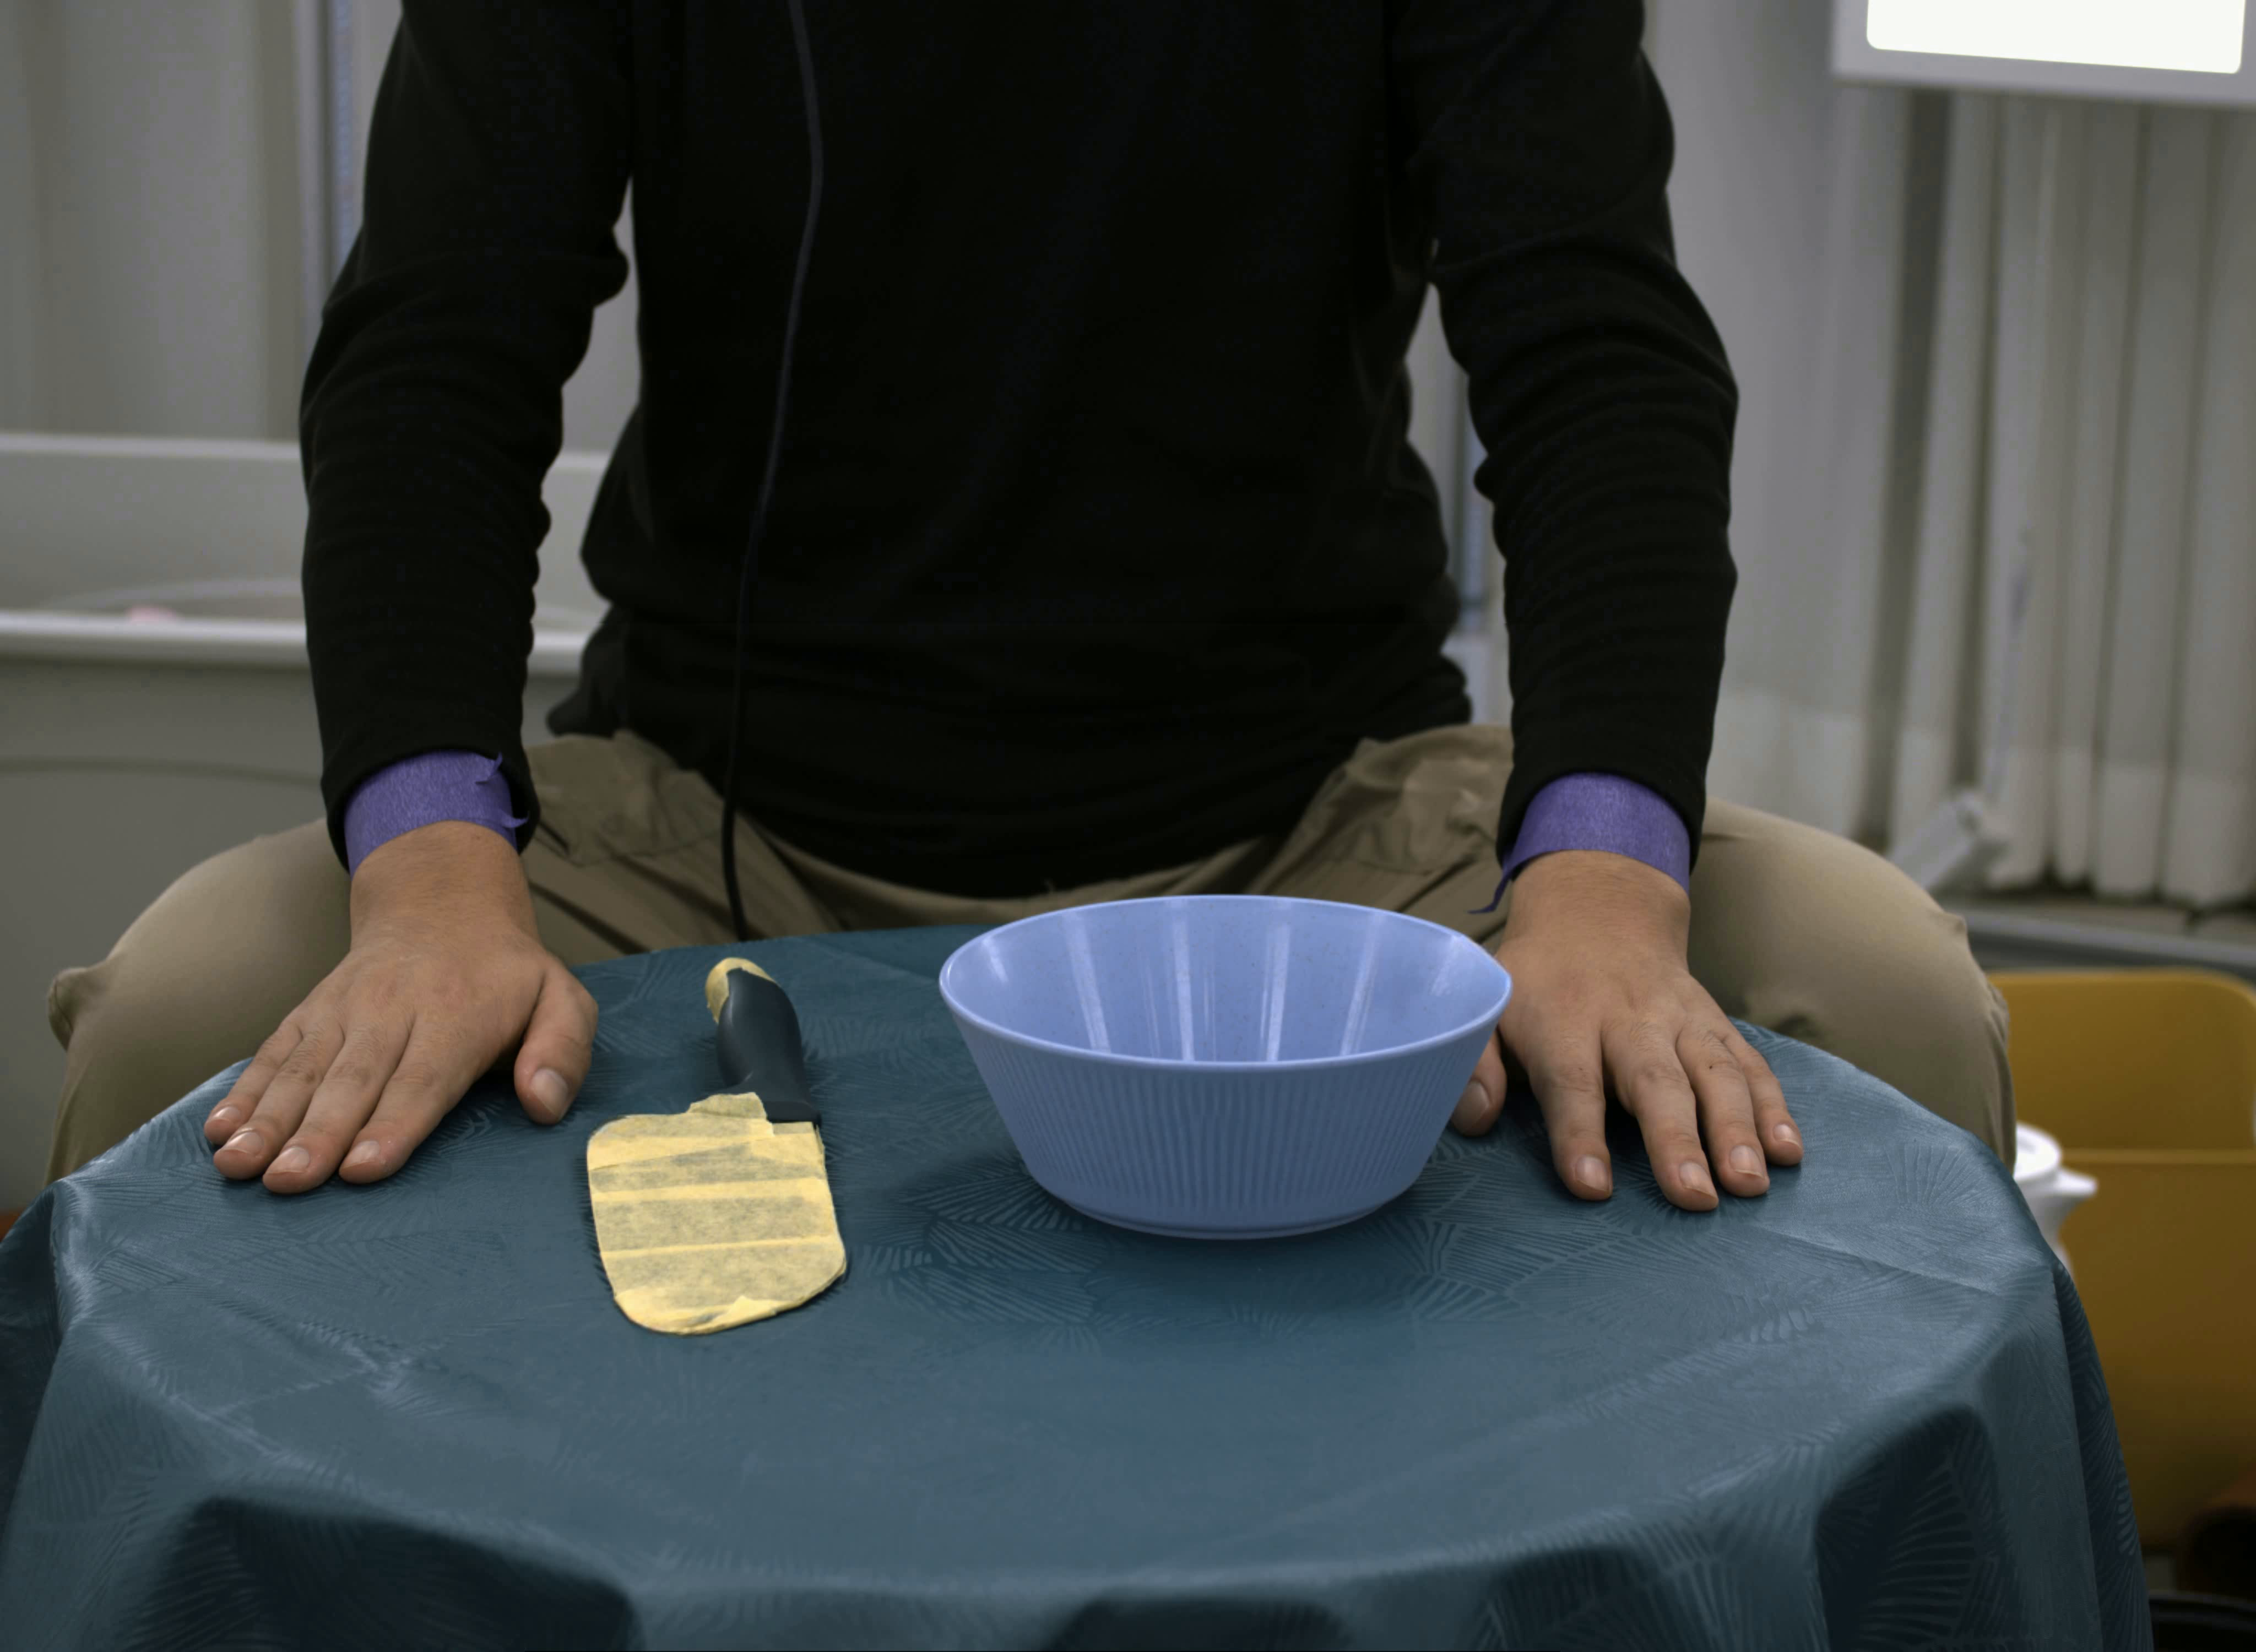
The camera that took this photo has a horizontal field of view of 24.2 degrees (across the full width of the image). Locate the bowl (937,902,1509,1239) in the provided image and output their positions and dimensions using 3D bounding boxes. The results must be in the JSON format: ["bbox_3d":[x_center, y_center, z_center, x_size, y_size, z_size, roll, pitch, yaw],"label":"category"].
[{"bbox_3d":[0.029,0.077,1.622,0.175,0.071,0.175,0,16,1],"label":"bowl"}]

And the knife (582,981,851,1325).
[{"bbox_3d":[-0.129,0.101,1.635,0.081,0.027,0.287,1,16,-5],"label":"knife"}]
